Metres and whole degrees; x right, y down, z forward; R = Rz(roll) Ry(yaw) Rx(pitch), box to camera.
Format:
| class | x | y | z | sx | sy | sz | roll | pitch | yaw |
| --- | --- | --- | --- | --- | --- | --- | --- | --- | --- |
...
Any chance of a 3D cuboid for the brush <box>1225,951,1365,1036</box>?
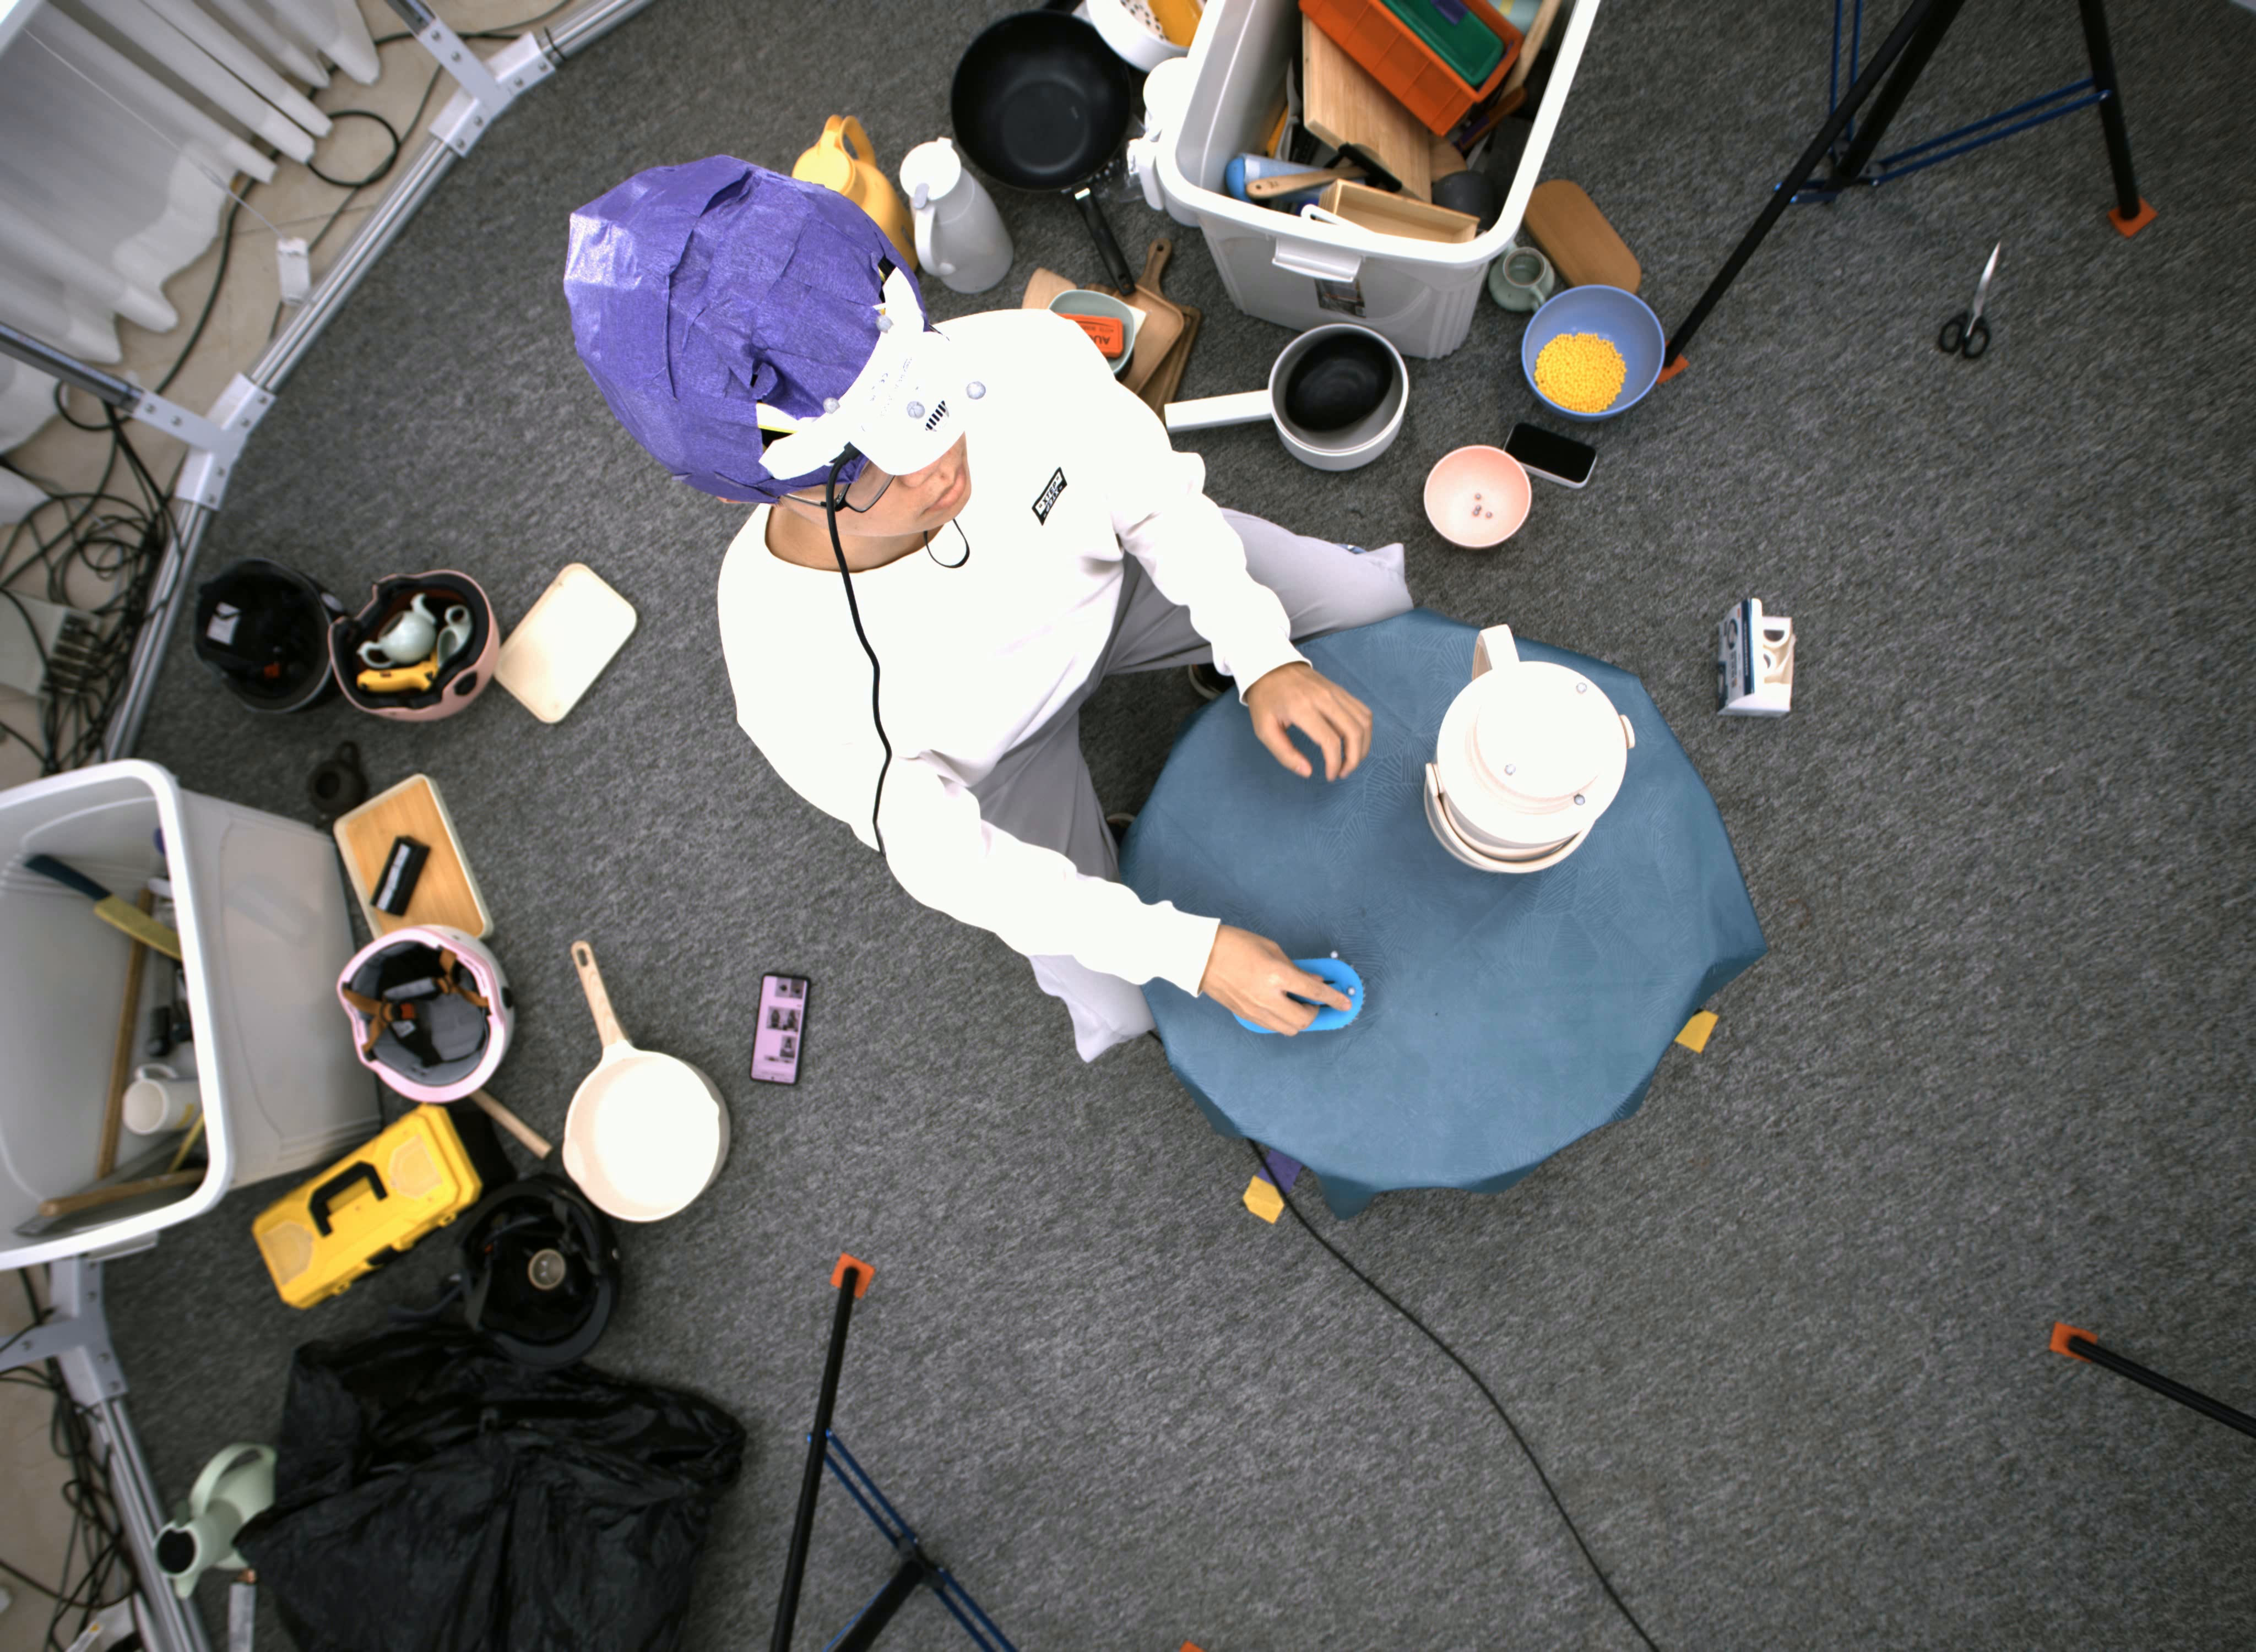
| class | x | y | z | sx | sy | sz | roll | pitch | yaw |
| --- | --- | --- | --- | --- | --- | --- | --- | --- | --- |
| brush | 0.169 | 0.172 | 1.412 | 0.142 | 0.063 | 0.084 | -4 | 89 | 12 |

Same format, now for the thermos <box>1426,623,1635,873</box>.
| class | x | y | z | sx | sy | sz | roll | pitch | yaw |
| --- | --- | --- | --- | --- | --- | --- | --- | --- | --- |
| thermos | 0.355 | -0.068 | 1.250 | 0.176 | 0.407 | 0.205 | -15 | 82 | 10 |
